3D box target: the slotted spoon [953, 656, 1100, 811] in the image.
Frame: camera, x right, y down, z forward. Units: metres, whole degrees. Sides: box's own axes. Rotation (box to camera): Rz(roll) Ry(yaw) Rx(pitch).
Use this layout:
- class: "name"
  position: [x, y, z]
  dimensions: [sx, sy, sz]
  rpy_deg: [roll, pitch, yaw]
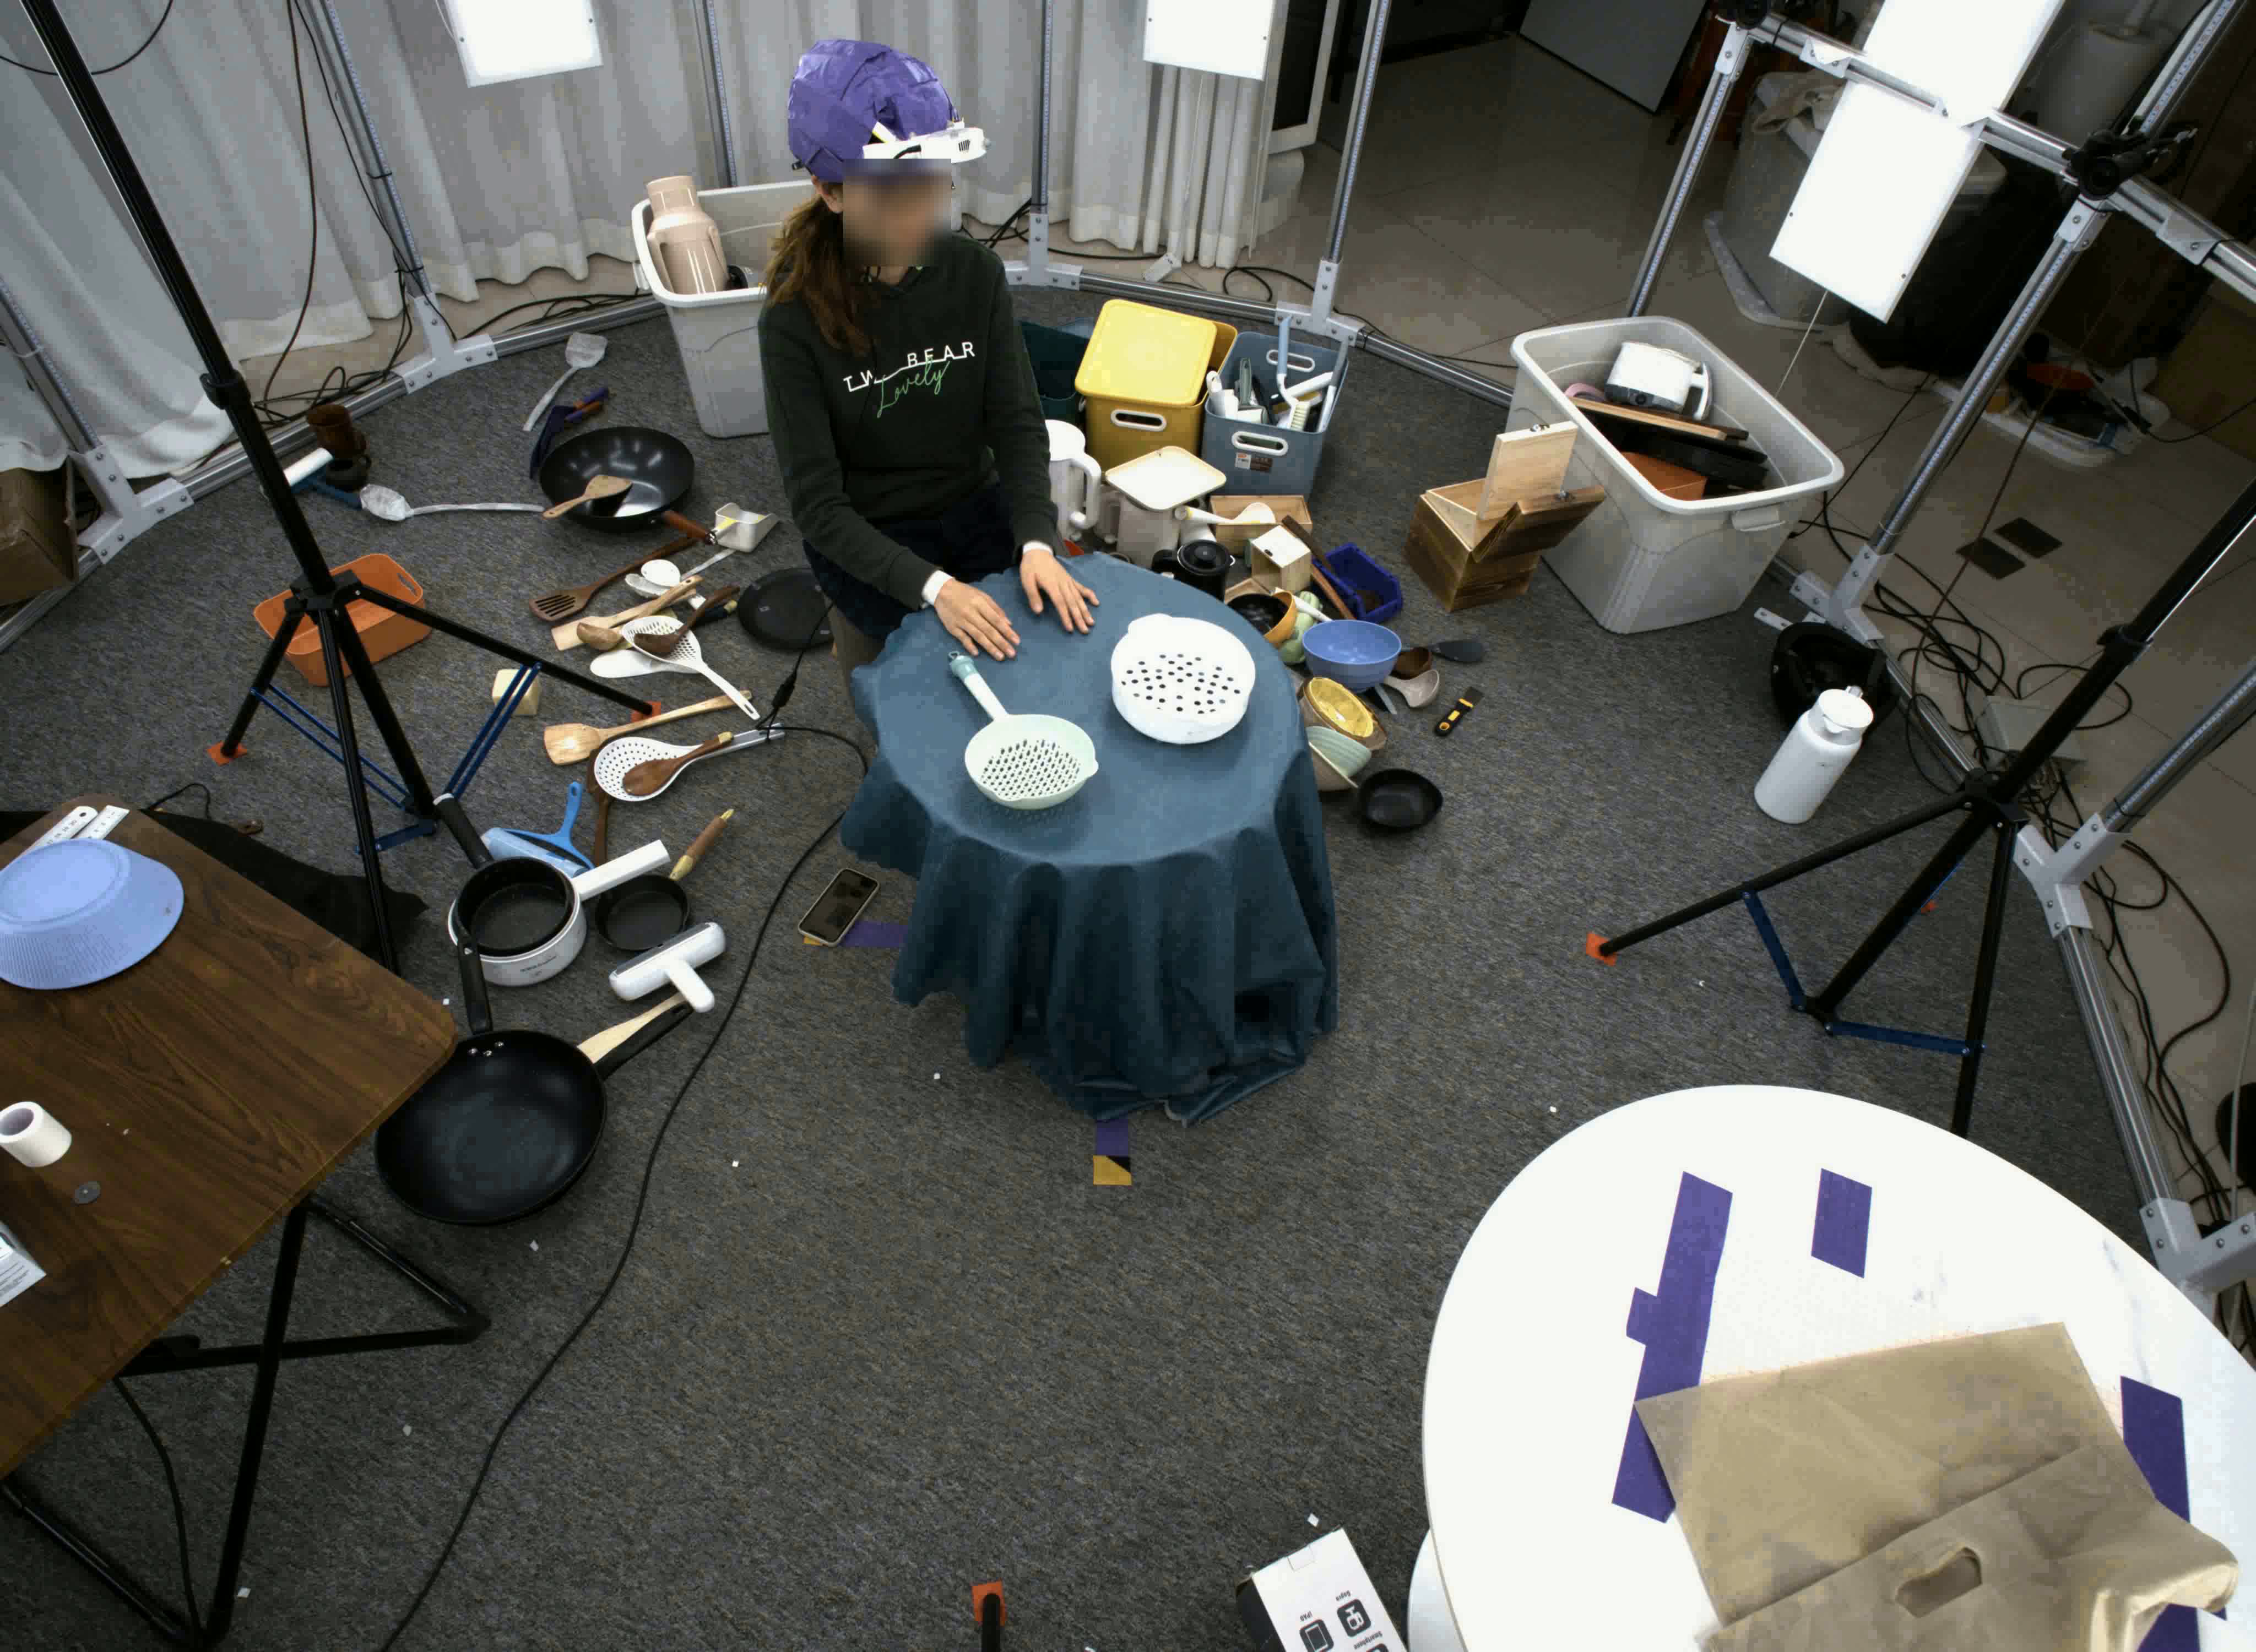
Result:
- class: "slotted spoon"
  position: [-0.170, -0.142, 1.755]
  dimensions: [0.169, 0.073, 0.367]
  rpy_deg: [-18, 52, -19]

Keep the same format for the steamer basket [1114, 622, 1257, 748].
- class: "steamer basket"
  position: [0.079, -0.197, 1.821]
  dimensions: [0.202, 0.067, 0.235]
  rpy_deg: [-19, 52, -22]
